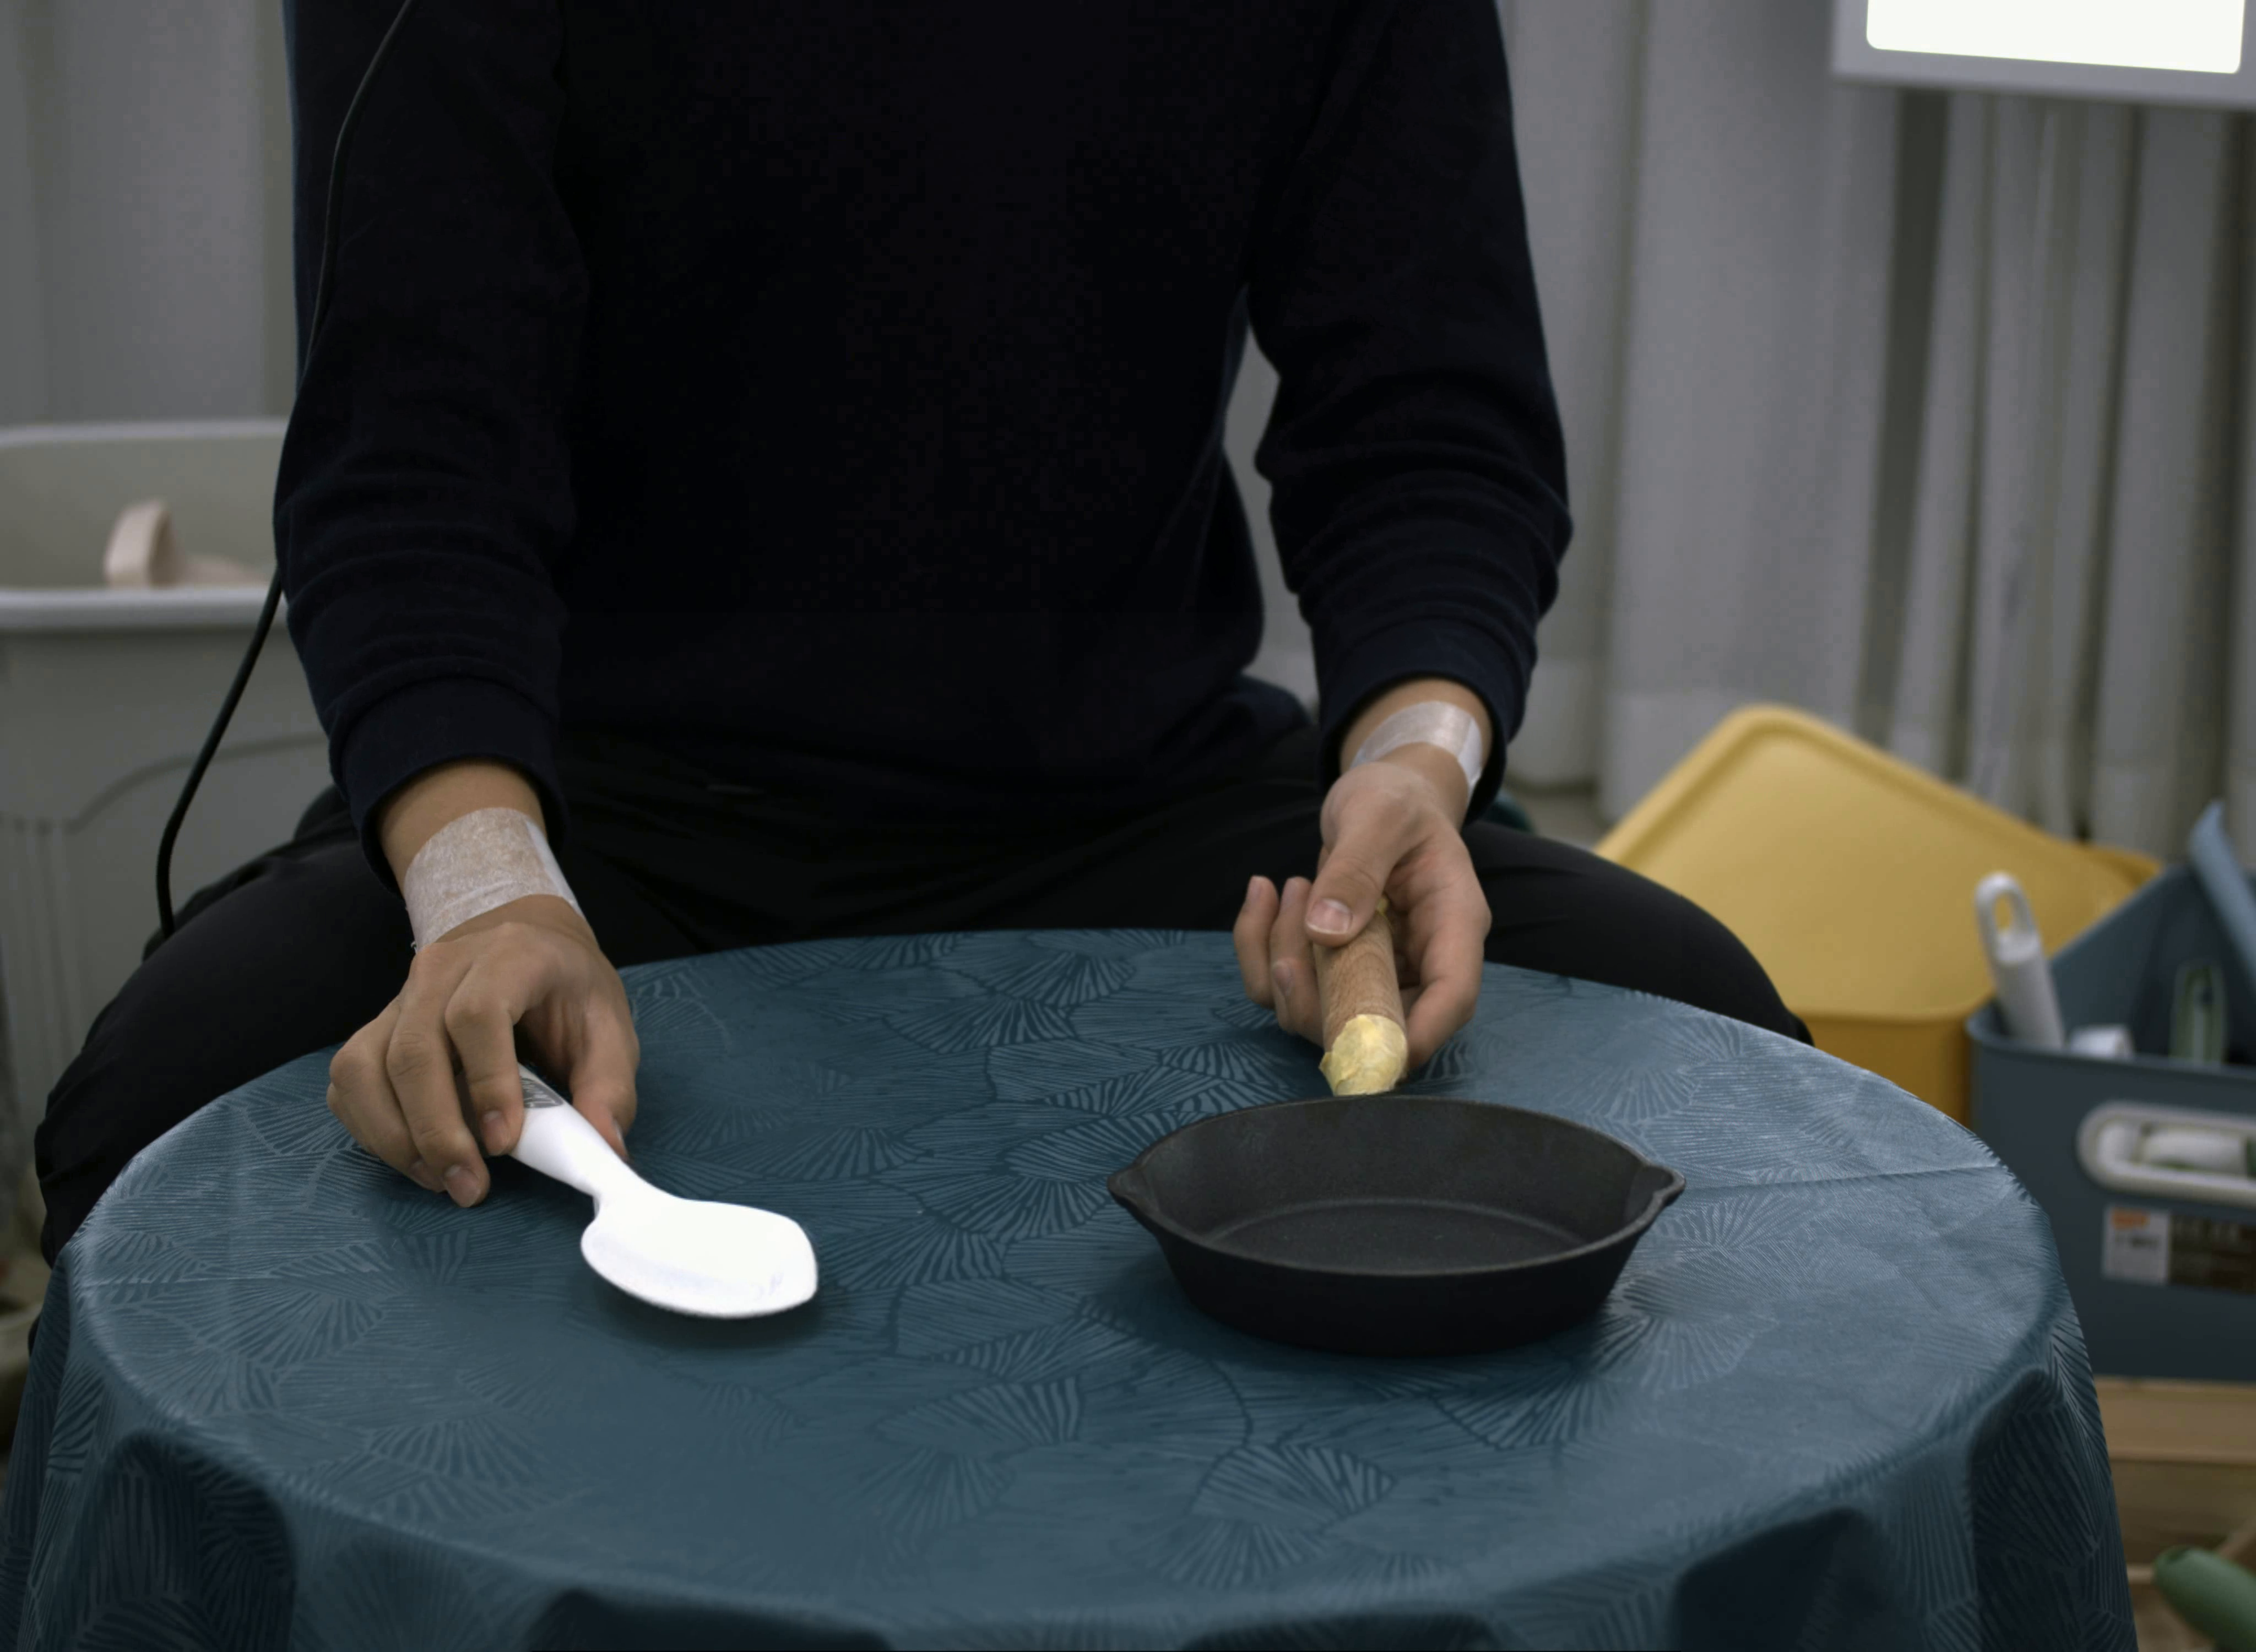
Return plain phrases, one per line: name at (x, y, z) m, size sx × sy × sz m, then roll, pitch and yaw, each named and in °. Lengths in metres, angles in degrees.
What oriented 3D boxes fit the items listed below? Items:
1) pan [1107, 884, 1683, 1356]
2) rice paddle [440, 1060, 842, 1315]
pan at (0.079, 0.087, 1.622) m, size 0.168 × 0.050 × 0.322 m, roll 0°, pitch 17°, yaw 0°
rice paddle at (-0.150, 0.110, 1.573) m, size 0.069 × 0.029 × 0.202 m, roll -12°, pitch 19°, yaw -29°
